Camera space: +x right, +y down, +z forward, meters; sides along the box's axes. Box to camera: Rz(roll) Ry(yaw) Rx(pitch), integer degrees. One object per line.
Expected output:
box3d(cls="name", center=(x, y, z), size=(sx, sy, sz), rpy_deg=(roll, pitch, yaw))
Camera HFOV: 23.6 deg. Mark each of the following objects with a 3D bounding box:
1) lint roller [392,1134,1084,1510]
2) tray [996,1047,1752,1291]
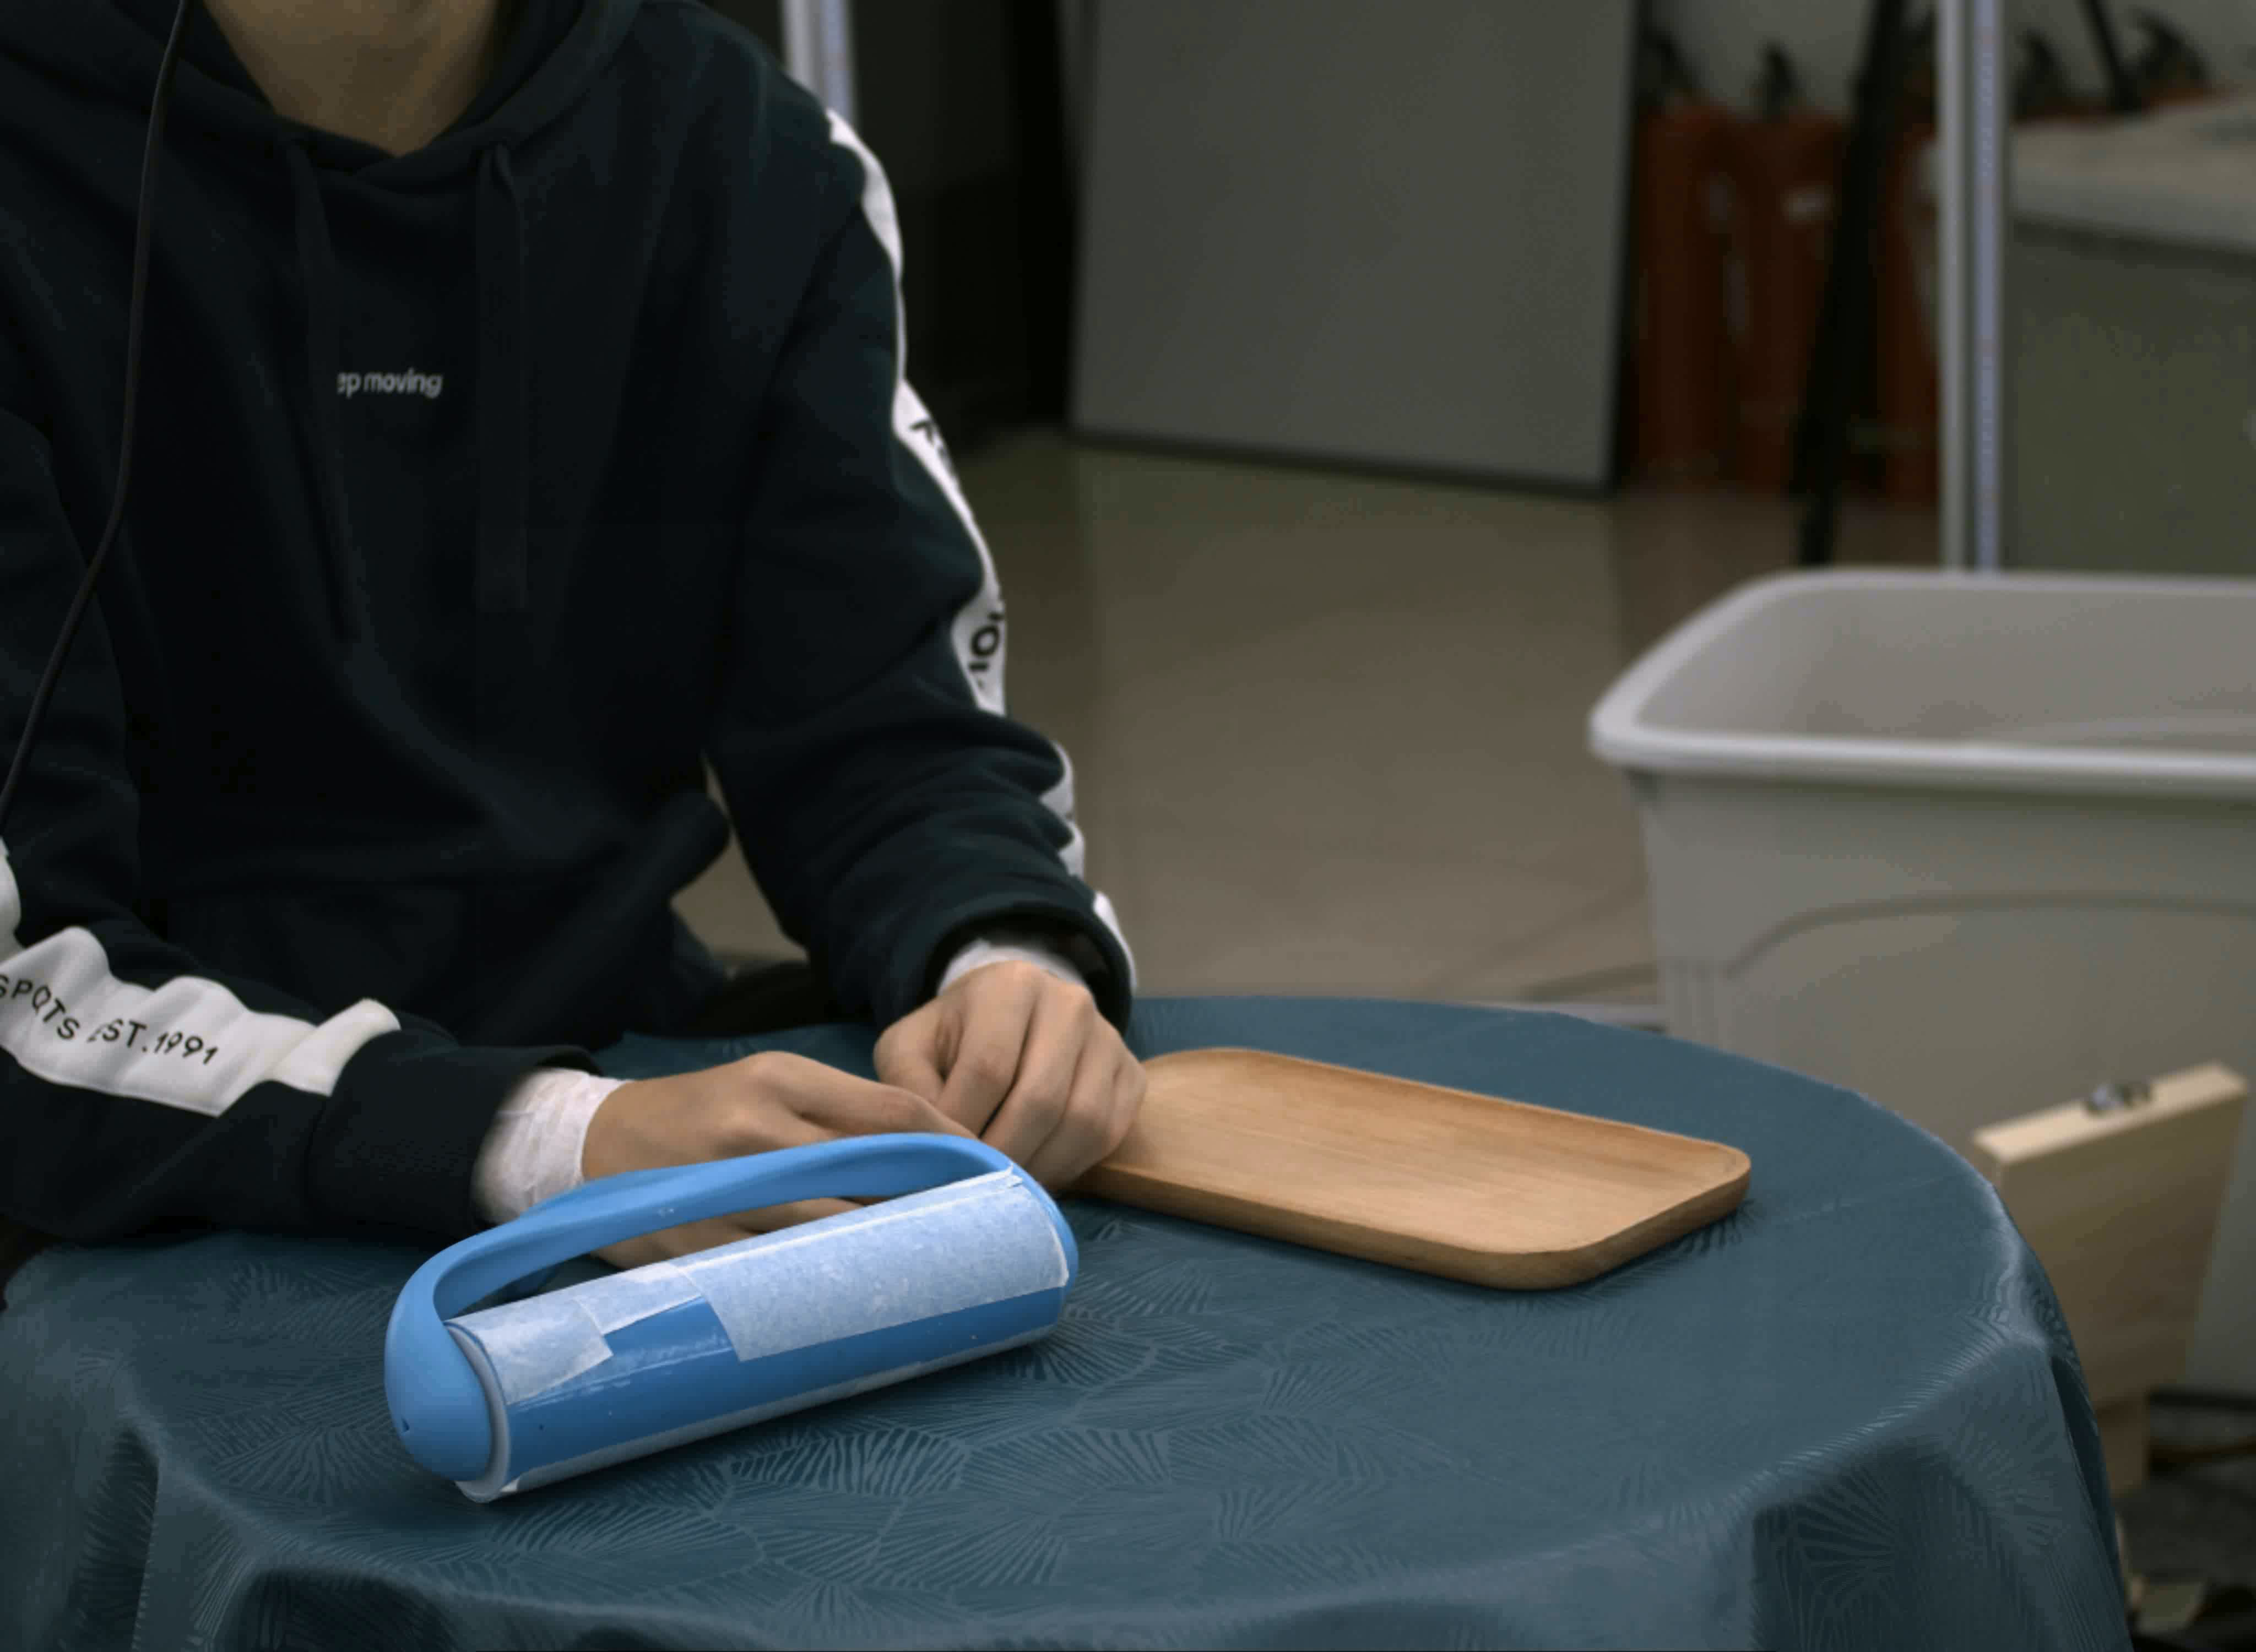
box3d(cls="lint roller", center=(-0.145, 0.137, 1.628), size=(0.224, 0.068, 0.182), rpy_deg=(-16, 19, -34))
box3d(cls="tray", center=(0.078, 0.110, 1.758), size=(0.253, 0.023, 0.128), rpy_deg=(8, 16, 44))
